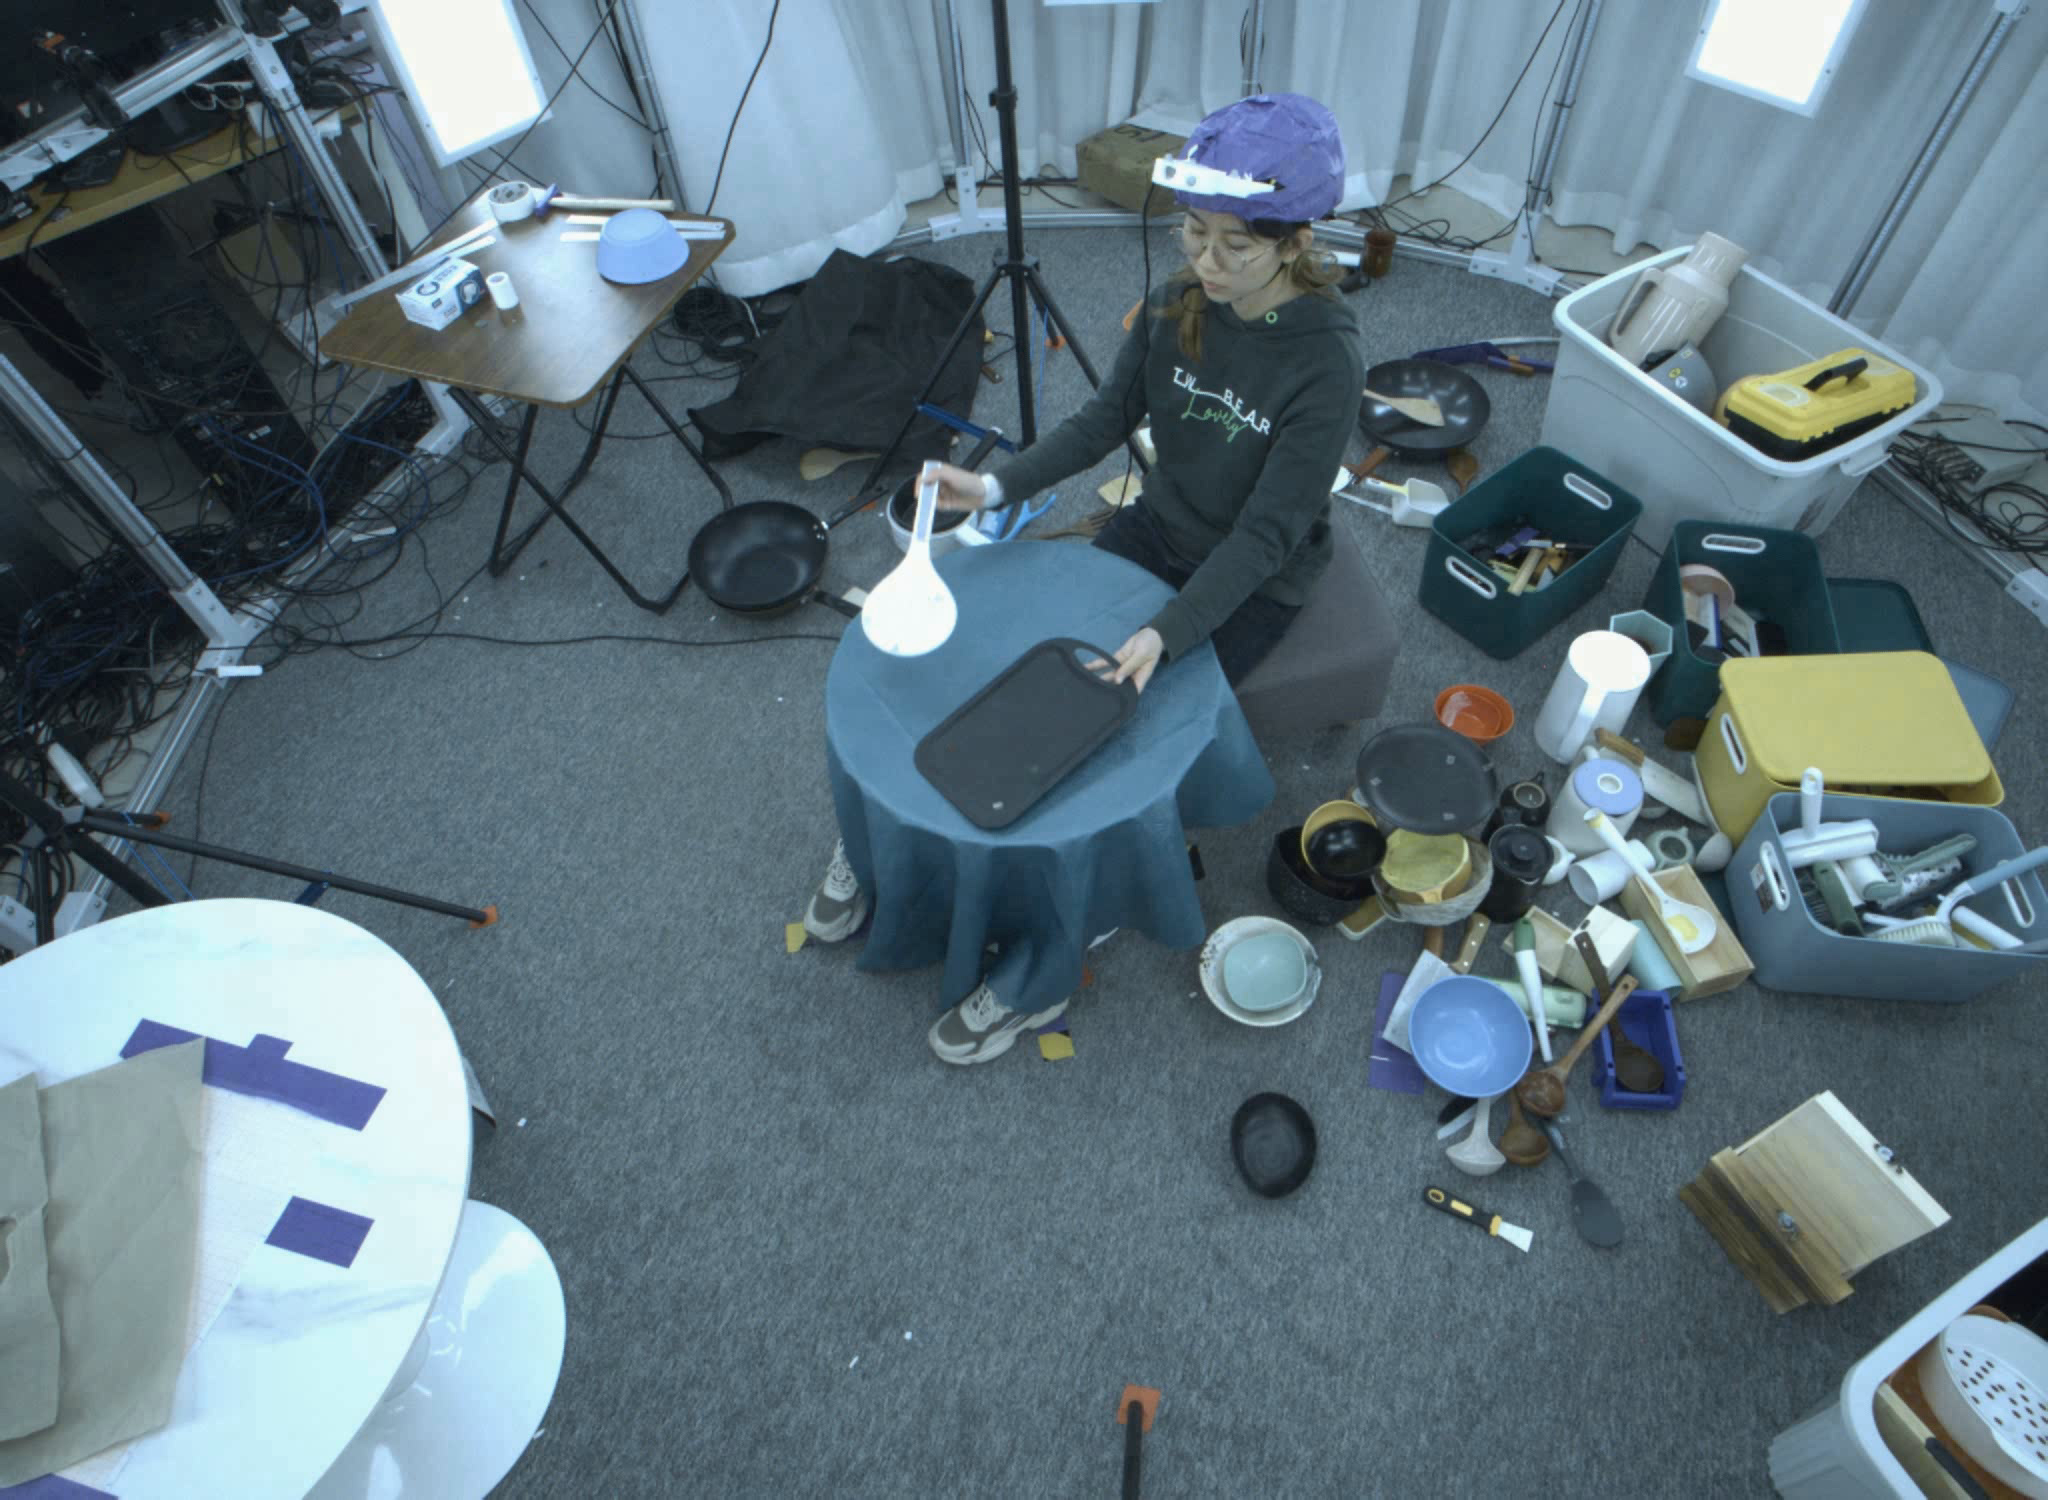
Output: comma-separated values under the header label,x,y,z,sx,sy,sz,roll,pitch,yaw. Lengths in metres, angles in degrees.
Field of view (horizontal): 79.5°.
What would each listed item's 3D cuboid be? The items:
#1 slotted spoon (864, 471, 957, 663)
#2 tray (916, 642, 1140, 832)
label,x,y,z,sx,sy,sz,roll,pitch,yaw
slotted spoon,-0.157,-0.279,1.832,0.136,0.046,0.347,6,70,0
tray,0.010,-0.032,1.783,0.327,0.010,0.207,-40,58,-15
